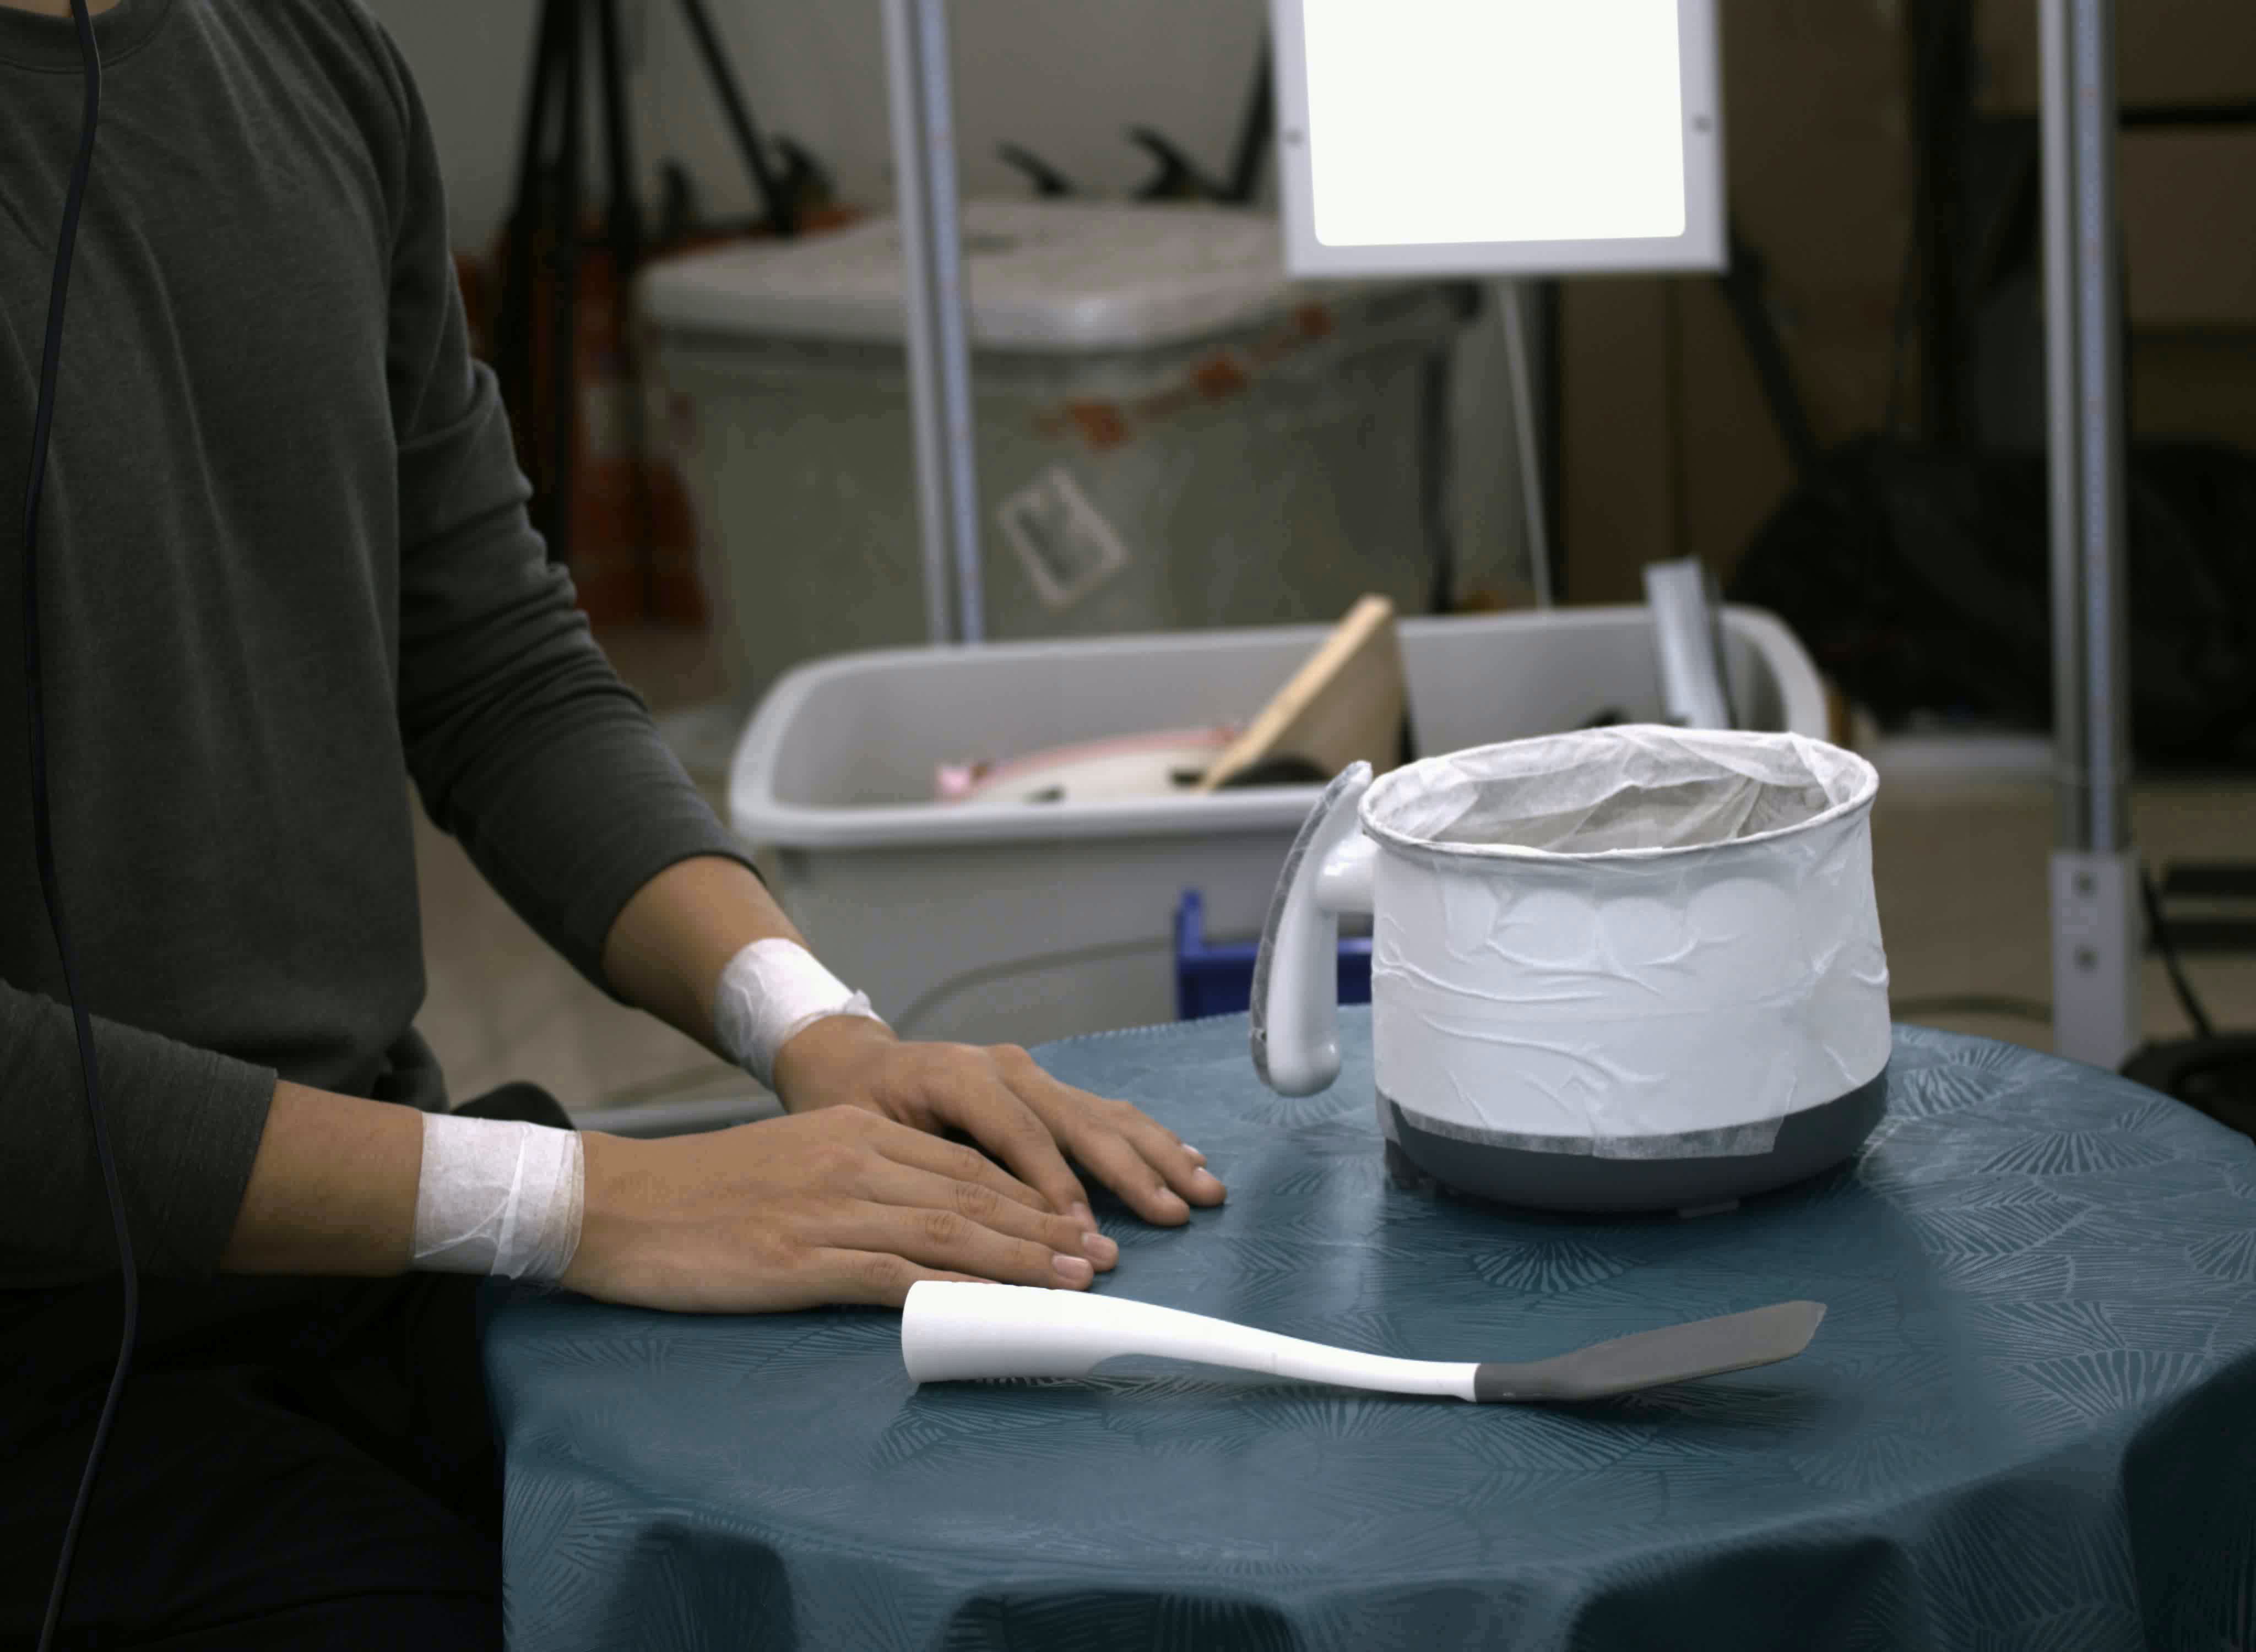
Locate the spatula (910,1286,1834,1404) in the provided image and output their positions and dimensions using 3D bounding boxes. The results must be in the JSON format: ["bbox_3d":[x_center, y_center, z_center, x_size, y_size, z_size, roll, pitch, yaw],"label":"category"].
[{"bbox_3d":[0.073,0.158,1.677,0.291,0.032,0.057,-1,11,21],"label":"spatula"}]

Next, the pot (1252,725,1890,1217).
[{"bbox_3d":[0.147,0.046,1.886,0.238,0.137,0.174,3,16,30],"label":"pot"}]
